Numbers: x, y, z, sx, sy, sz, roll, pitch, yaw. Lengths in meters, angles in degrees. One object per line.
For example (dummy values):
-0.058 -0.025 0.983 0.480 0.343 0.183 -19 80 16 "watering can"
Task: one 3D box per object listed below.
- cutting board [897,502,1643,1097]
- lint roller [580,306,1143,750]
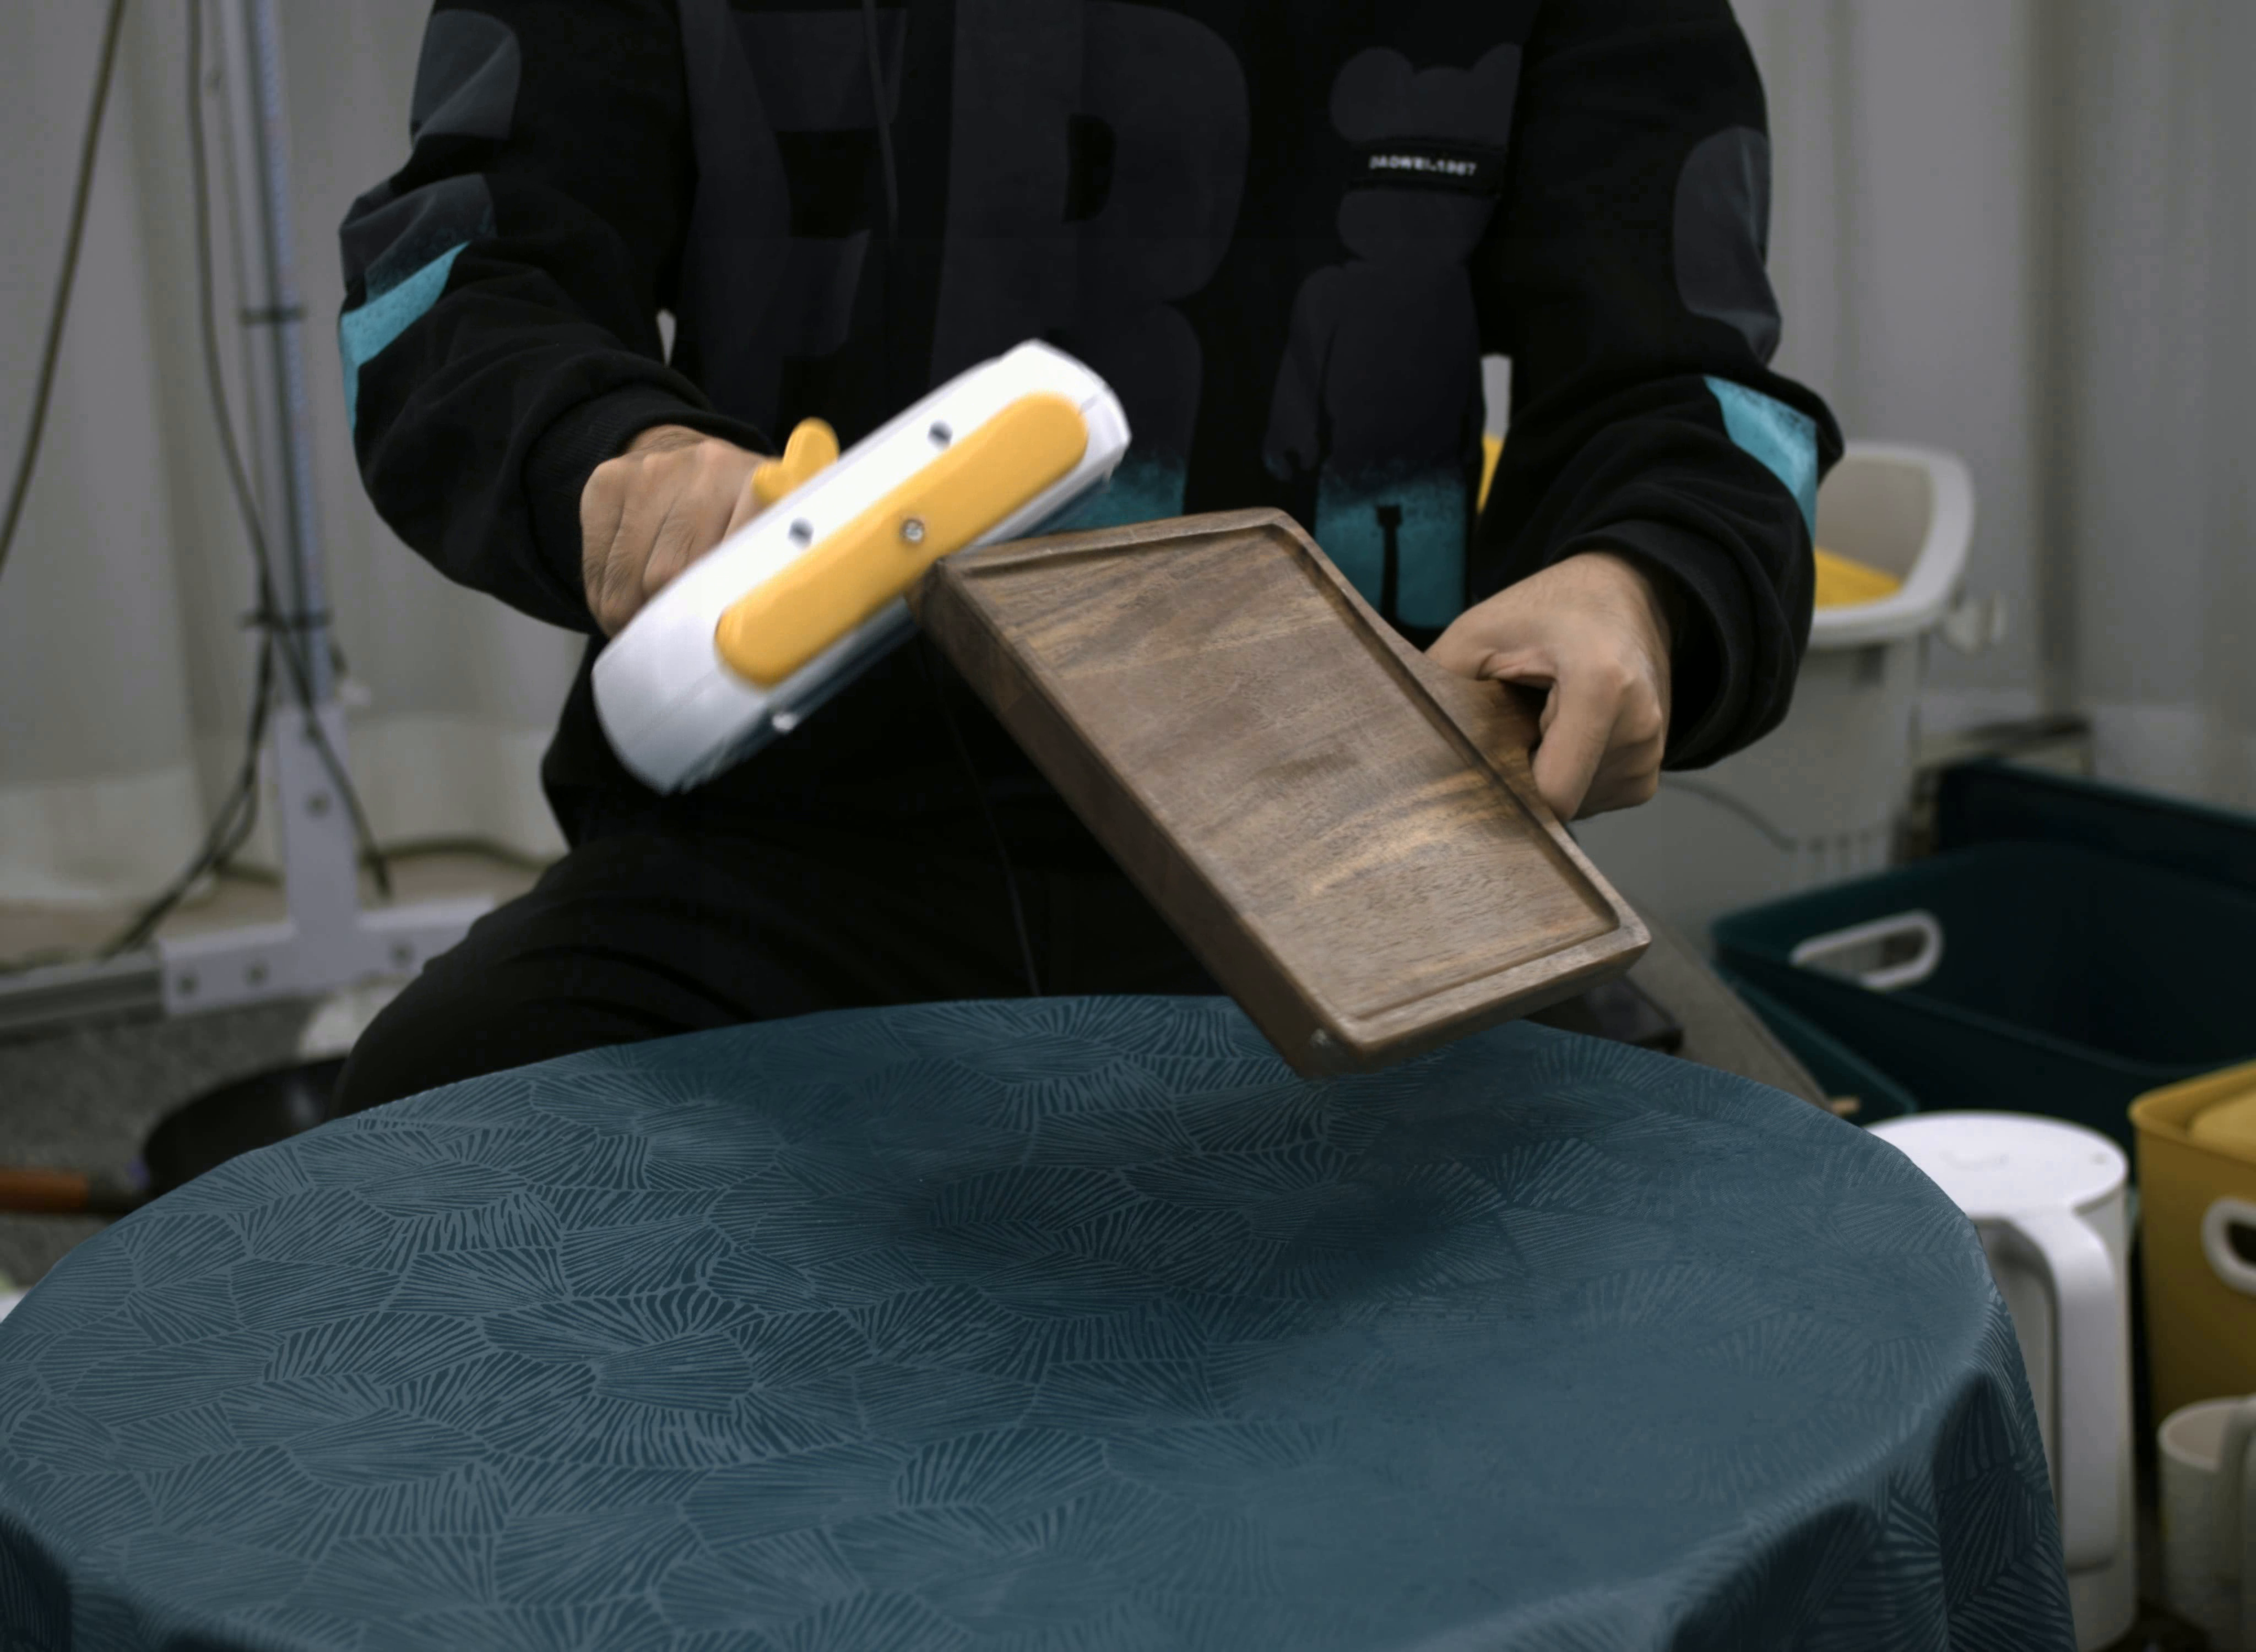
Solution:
0.070 -0.020 1.727 0.202 0.023 0.351 49 23 13 "cutting board"
-0.108 -0.083 1.704 0.194 0.074 0.192 -43 10 -32 "lint roller"
